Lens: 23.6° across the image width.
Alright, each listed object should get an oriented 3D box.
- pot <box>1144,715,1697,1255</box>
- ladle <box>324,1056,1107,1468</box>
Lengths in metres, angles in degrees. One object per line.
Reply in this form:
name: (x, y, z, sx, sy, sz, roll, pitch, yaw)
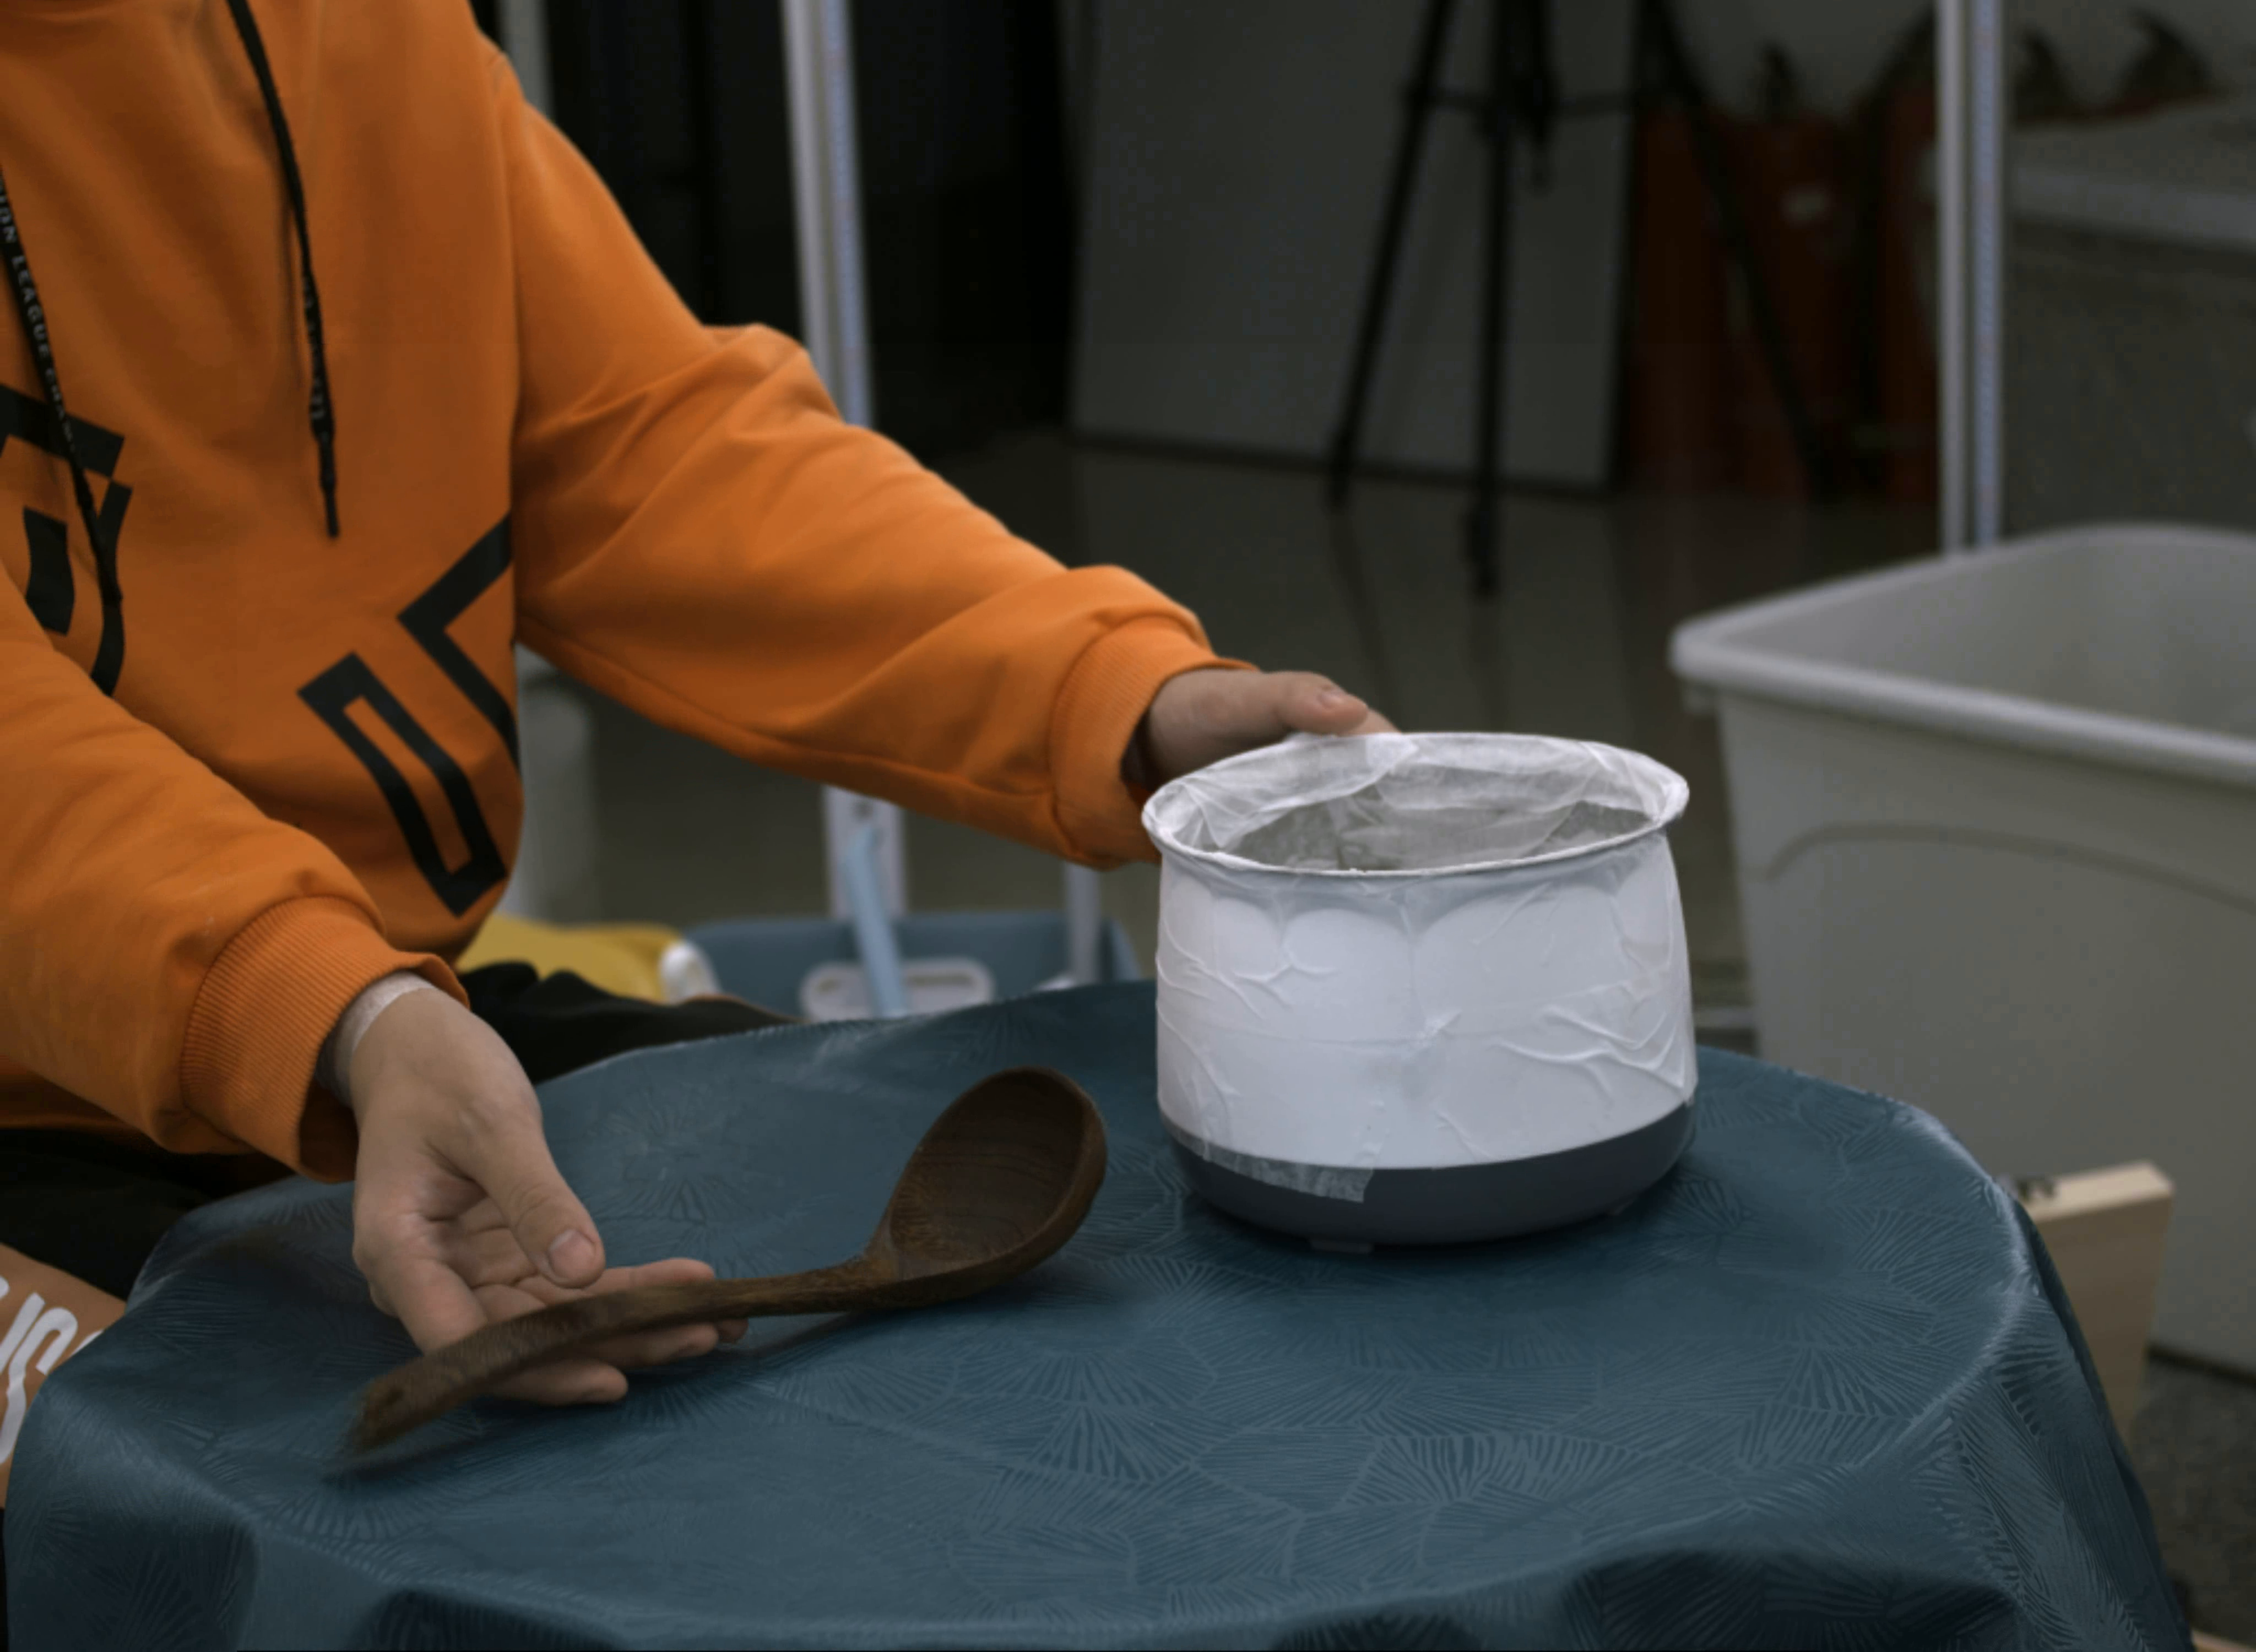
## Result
pot: (0.086, 0.045, 1.763, 0.175, 0.138, 0.236, -8, 14, -17)
ladle: (-0.121, 0.127, 1.625, 0.268, 0.072, 0.077, -12, 17, -37)
